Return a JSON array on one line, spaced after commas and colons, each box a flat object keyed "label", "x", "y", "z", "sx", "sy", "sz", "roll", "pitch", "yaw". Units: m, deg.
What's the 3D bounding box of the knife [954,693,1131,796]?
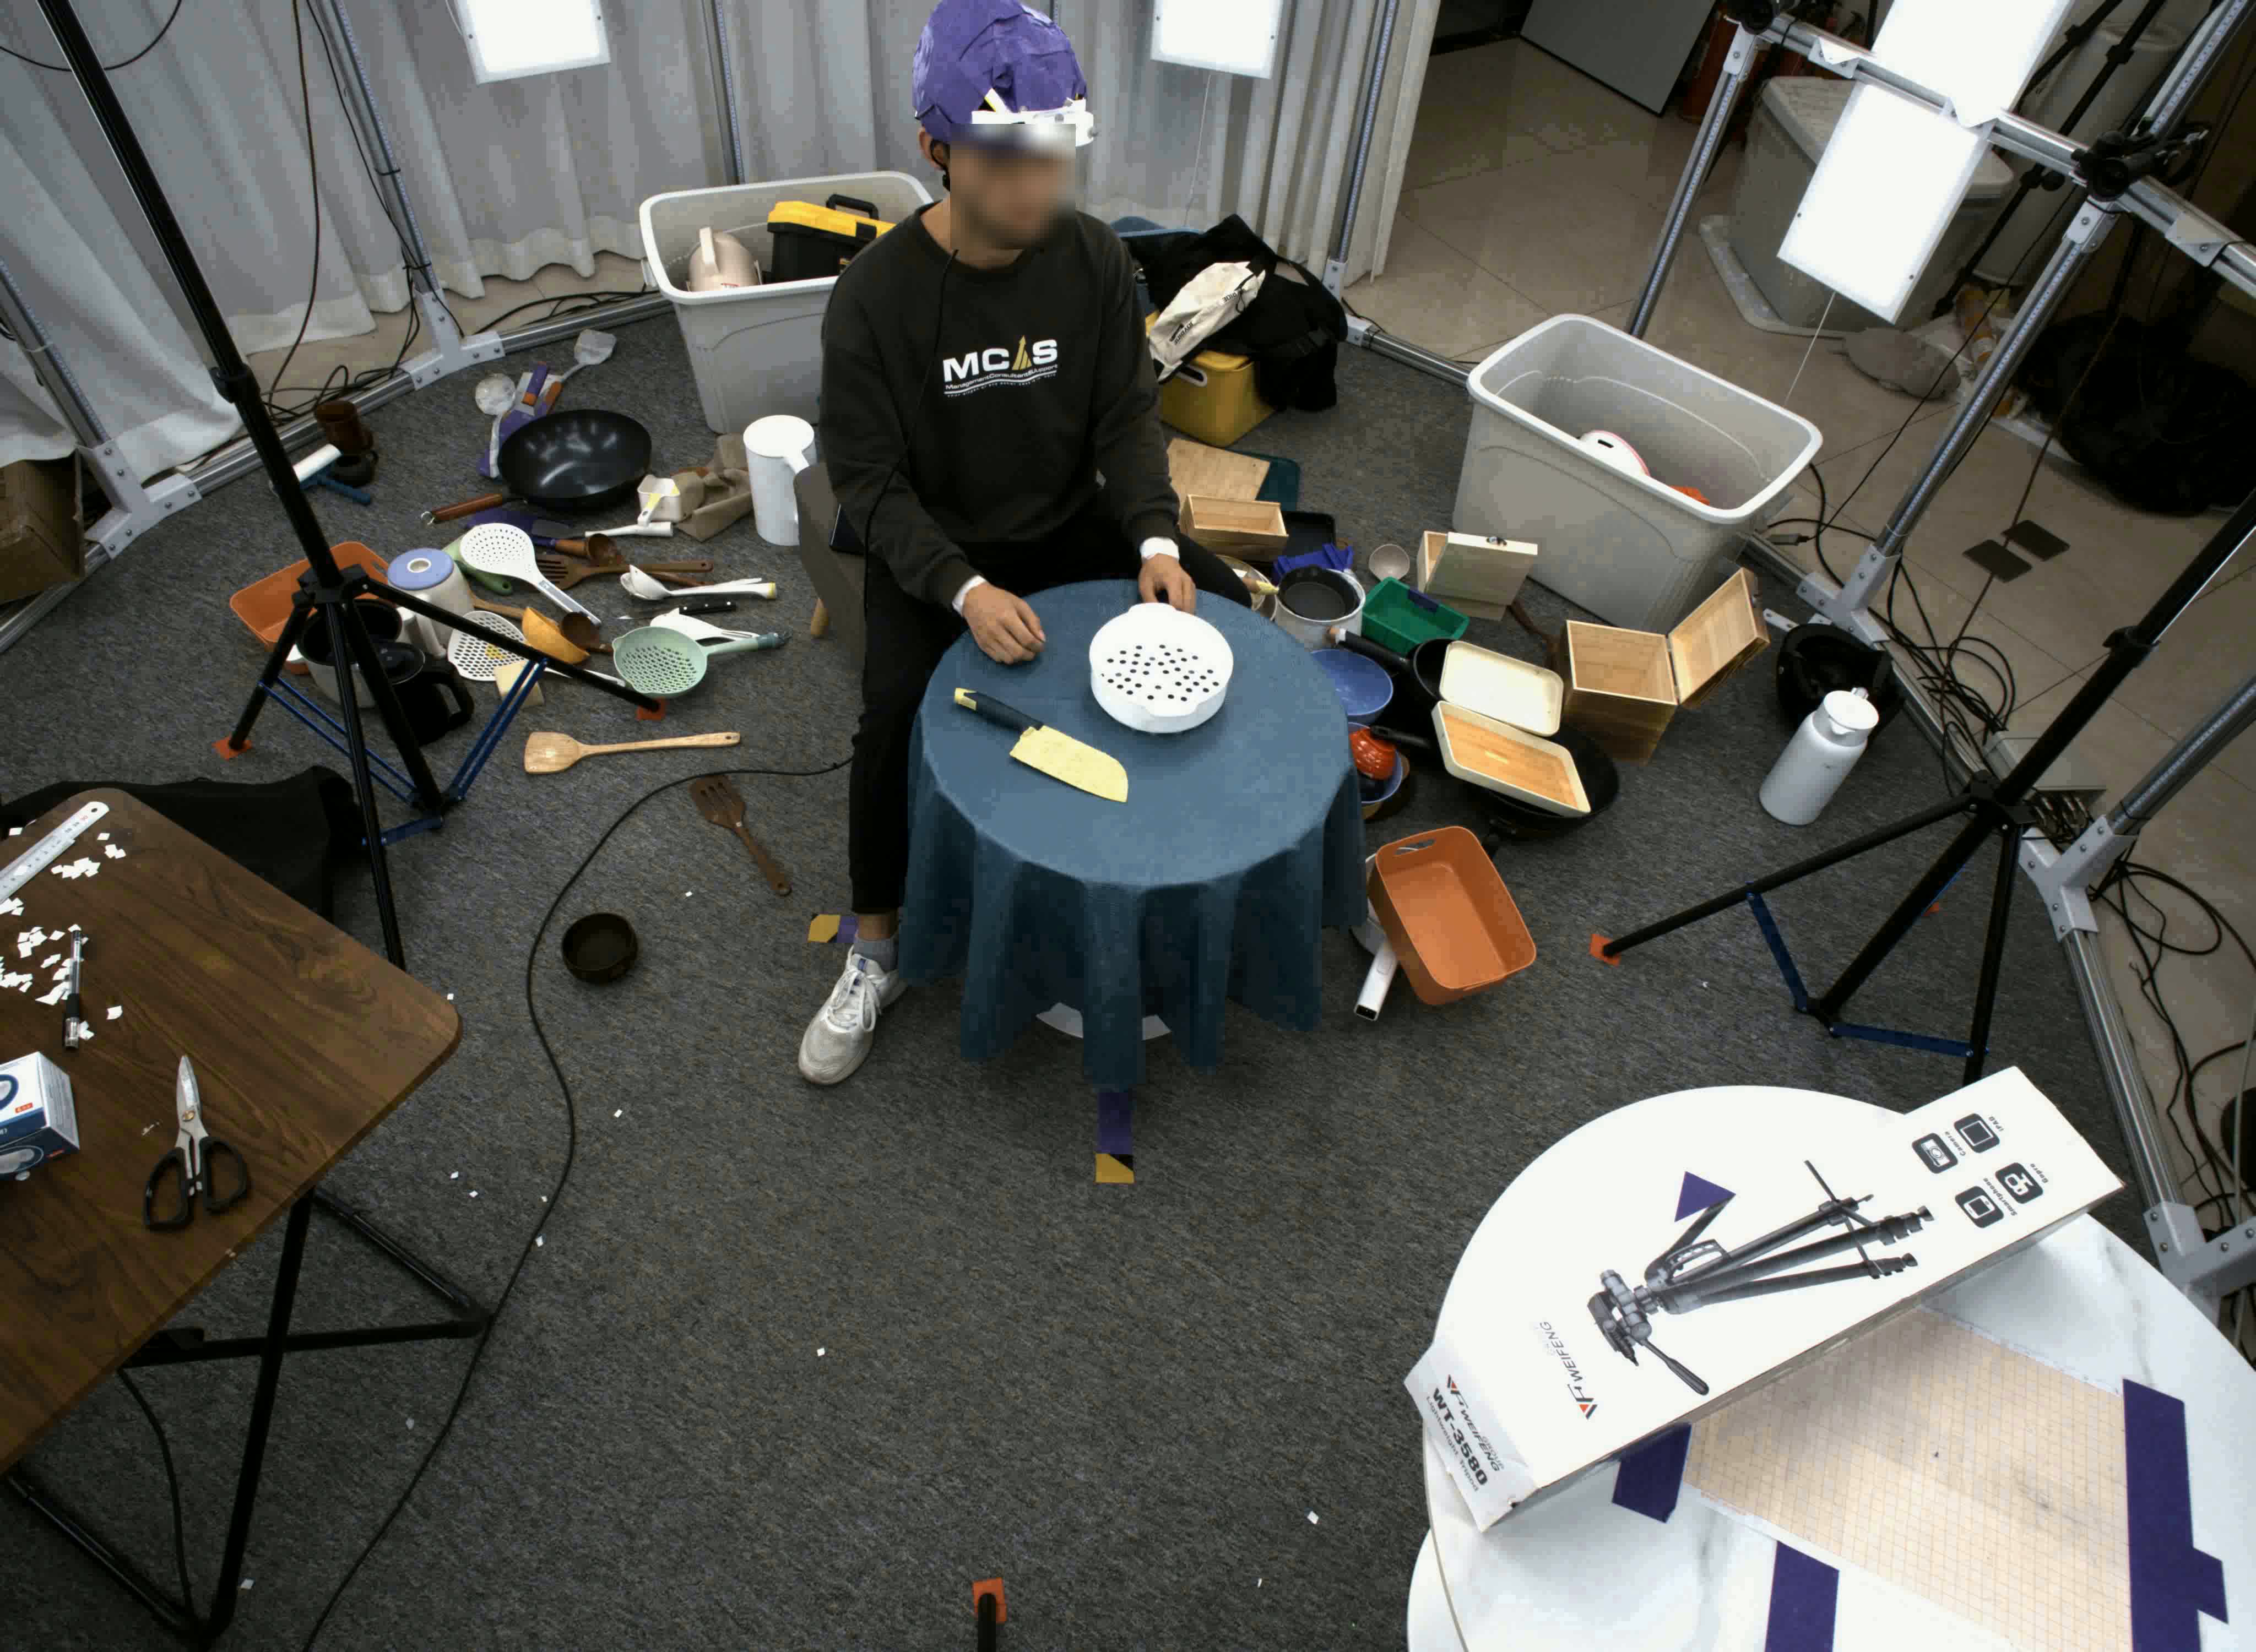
[{"label": "knife", "x": -0.122, "y": -0.110, "z": 1.745, "sx": 0.292, "sy": 0.026, "sz": 0.082, "roll": 27, "pitch": 51, "yaw": 17}]

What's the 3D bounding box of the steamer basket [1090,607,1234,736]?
[{"label": "steamer basket", "x": 0.046, "y": -0.215, "z": 1.814, "sx": 0.201, "sy": 0.067, "sz": 0.236, "roll": -2, "pitch": 48, "yaw": -7}]
